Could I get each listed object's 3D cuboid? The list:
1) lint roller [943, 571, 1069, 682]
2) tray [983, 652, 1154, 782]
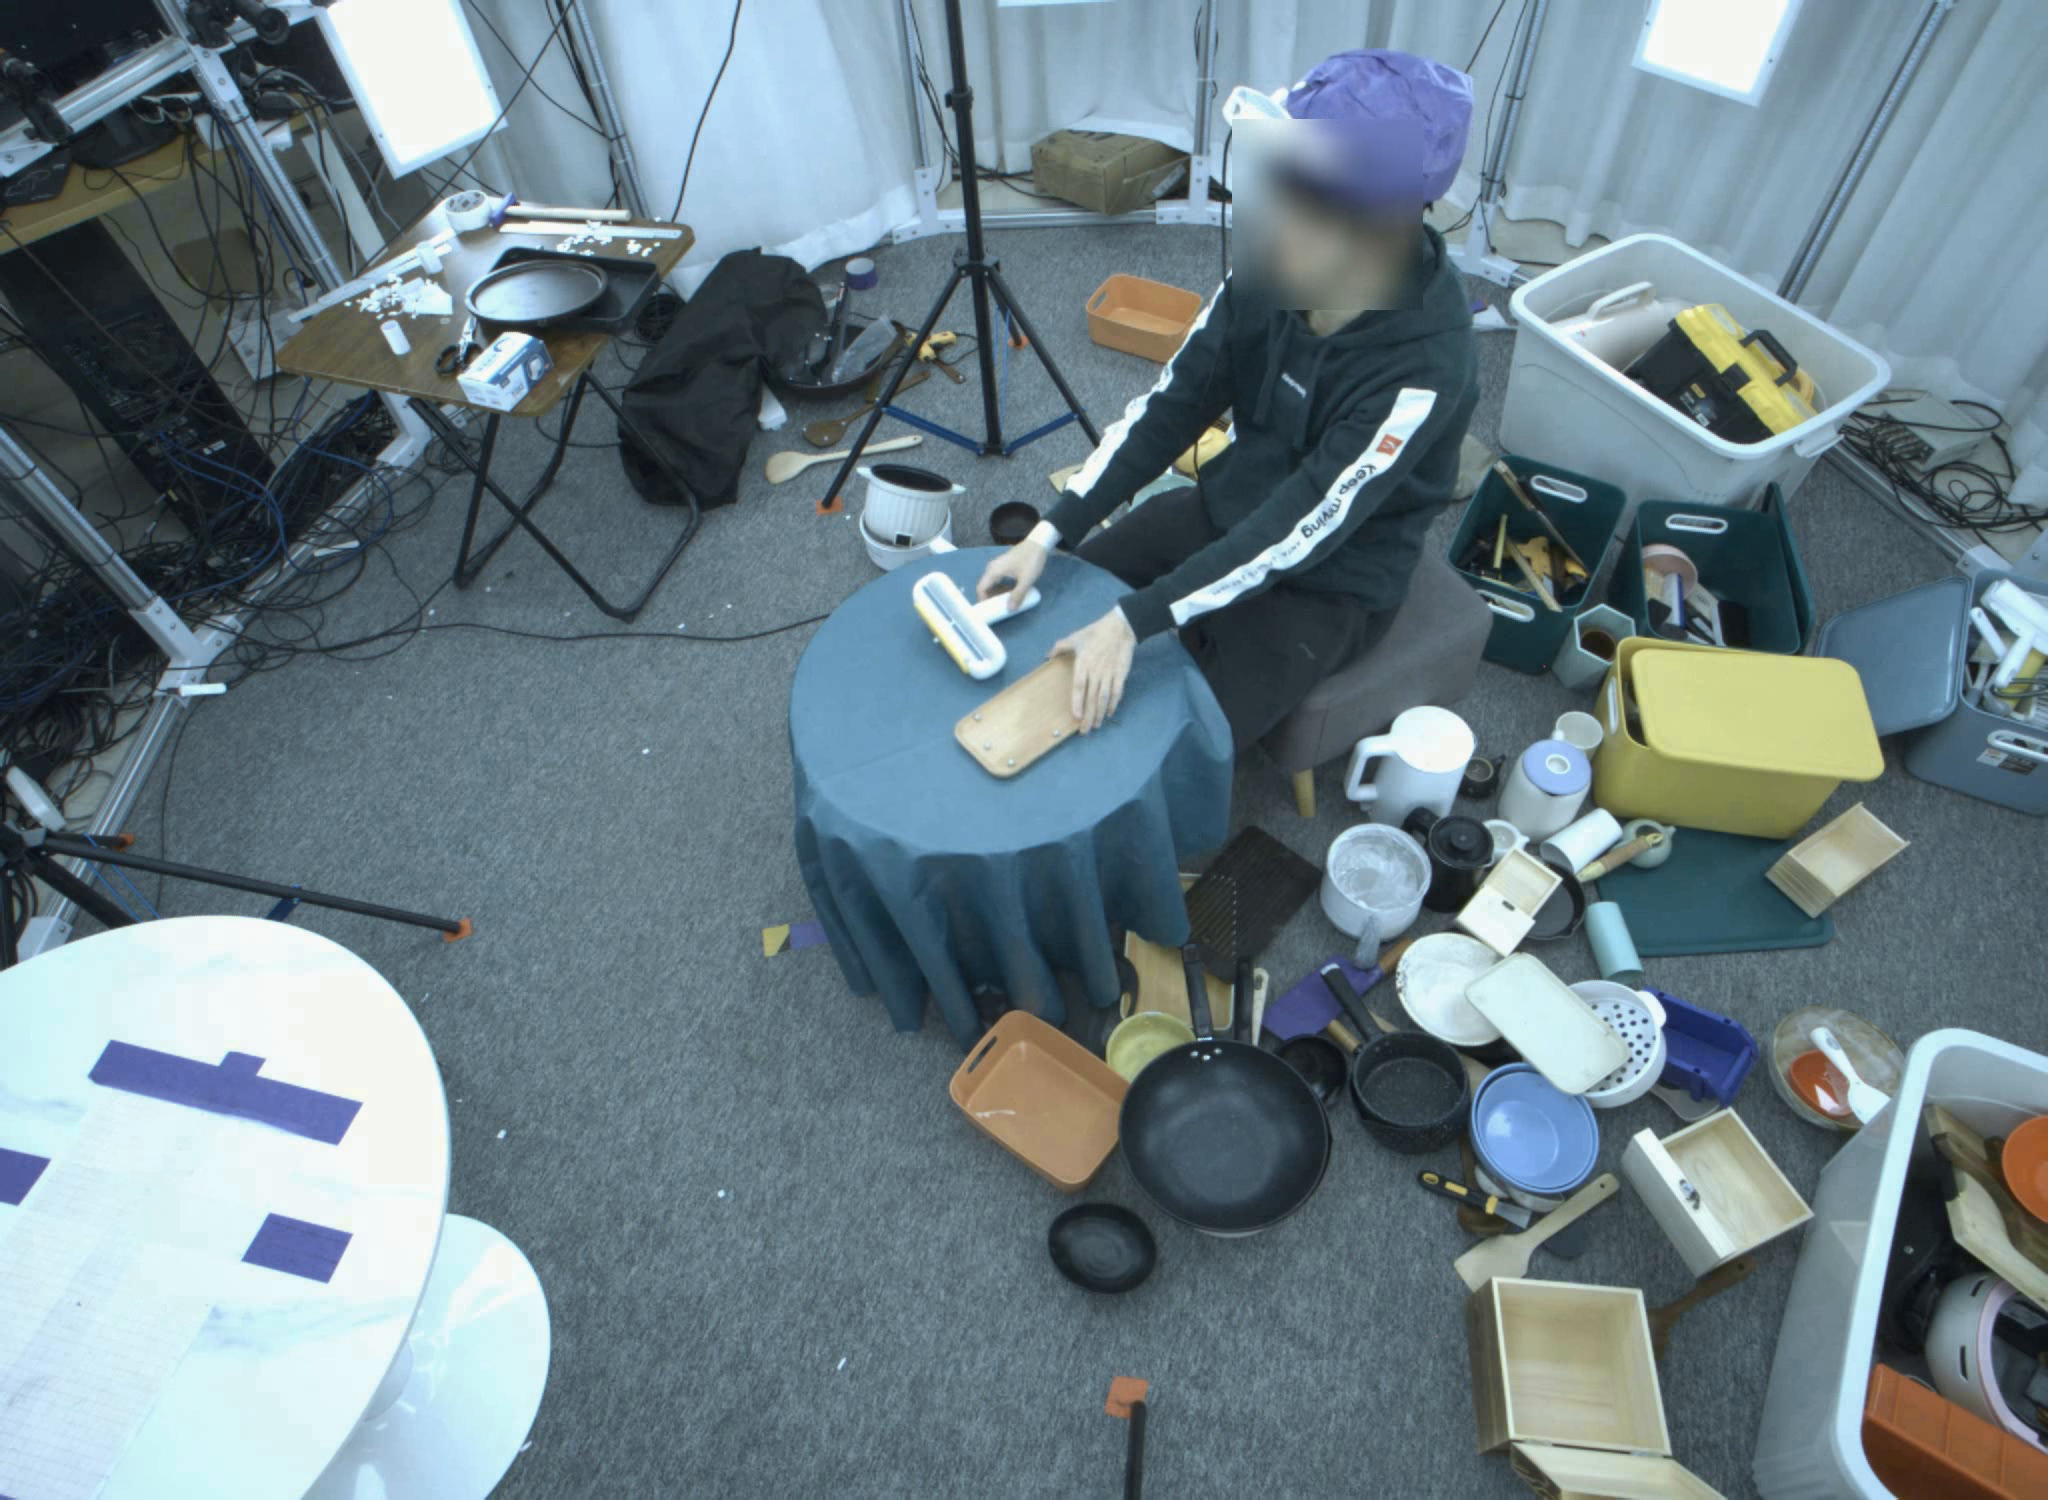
[{"bbox_3d":[-0.010,-0.200,1.905,0.195,0.074,0.190,-19,64,-28],"label":"lint roller"},{"bbox_3d":[0.066,-0.050,1.806,0.253,0.023,0.128,-32,62,-20],"label":"tray"}]
